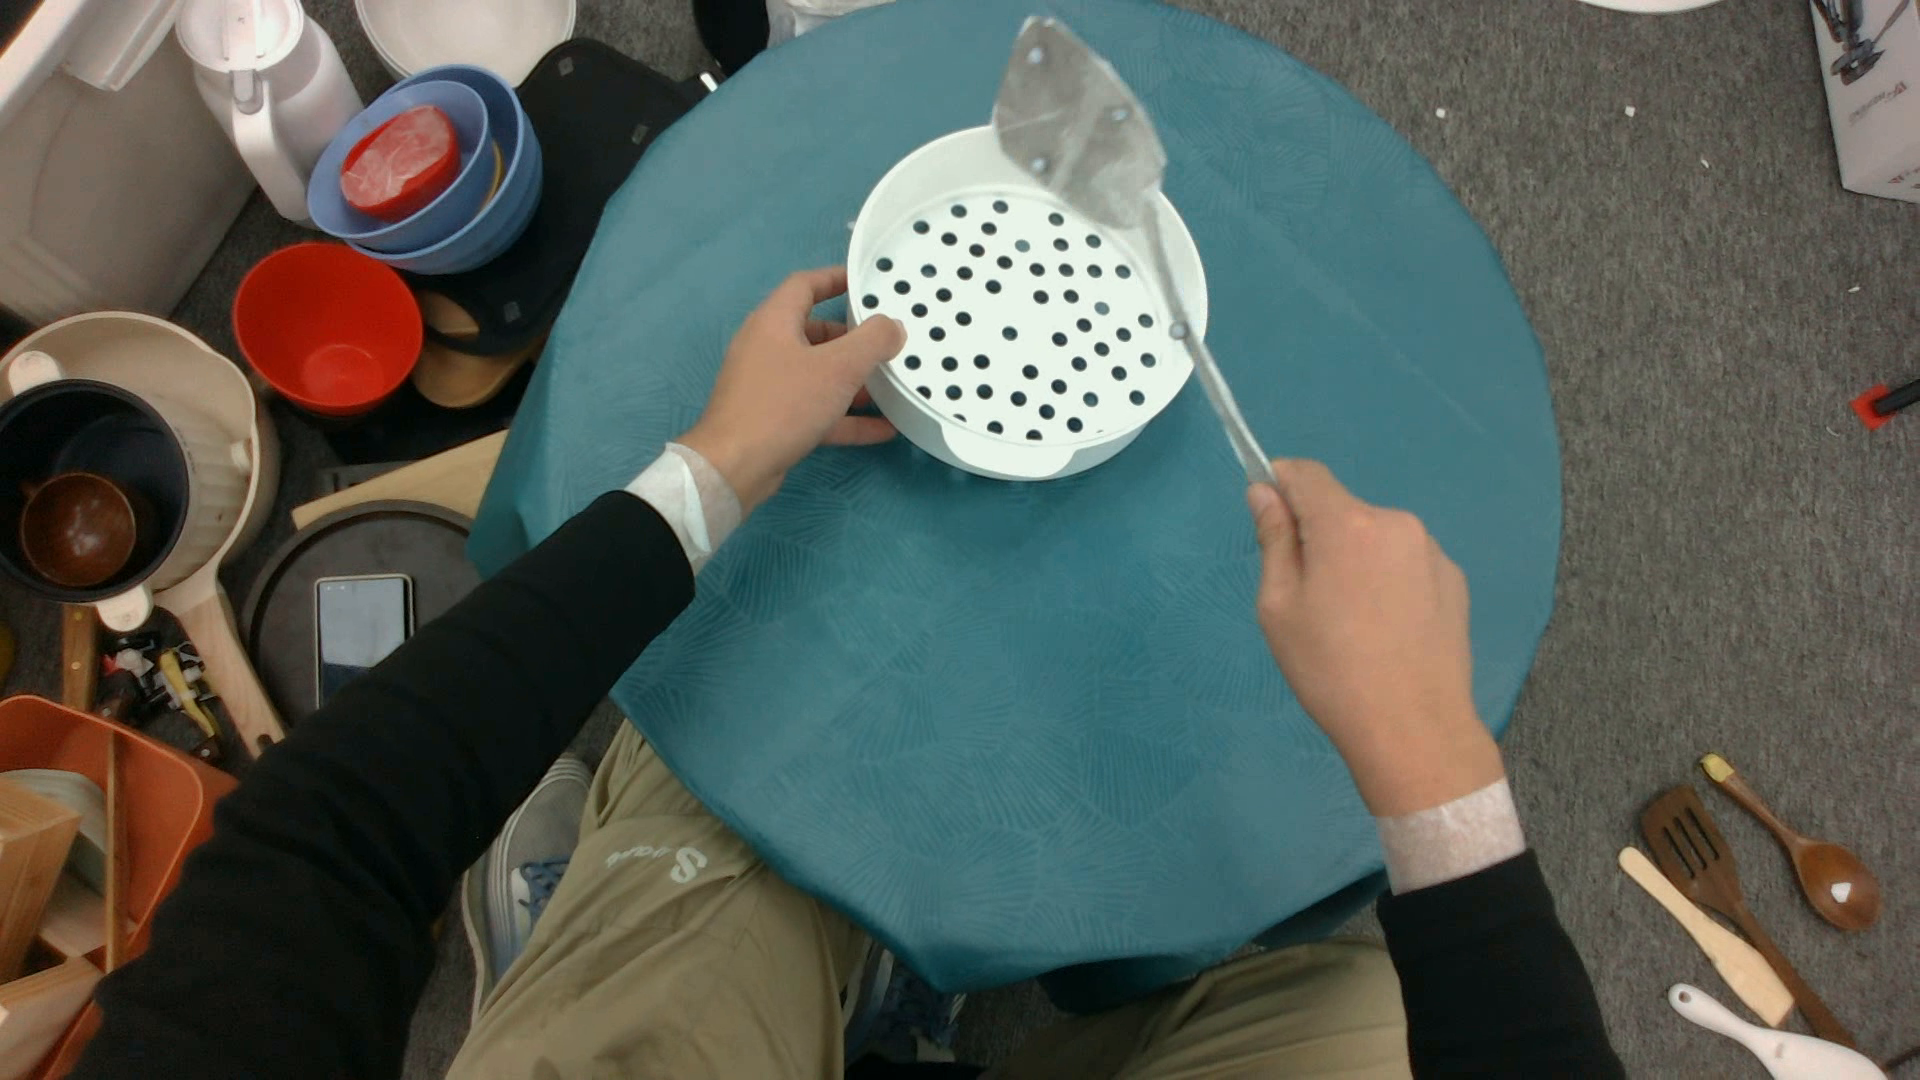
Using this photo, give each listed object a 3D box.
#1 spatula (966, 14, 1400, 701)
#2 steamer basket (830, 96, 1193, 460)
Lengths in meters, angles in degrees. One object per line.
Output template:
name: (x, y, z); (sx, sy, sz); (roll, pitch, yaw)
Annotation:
spatula: (0.104, -0.084, 0.642); (0.045, 0.098, 0.365); (-21, 76, -21)
steamer basket: (0.026, -0.143, 0.778); (0.202, 0.069, 0.231); (11, 69, -6)
